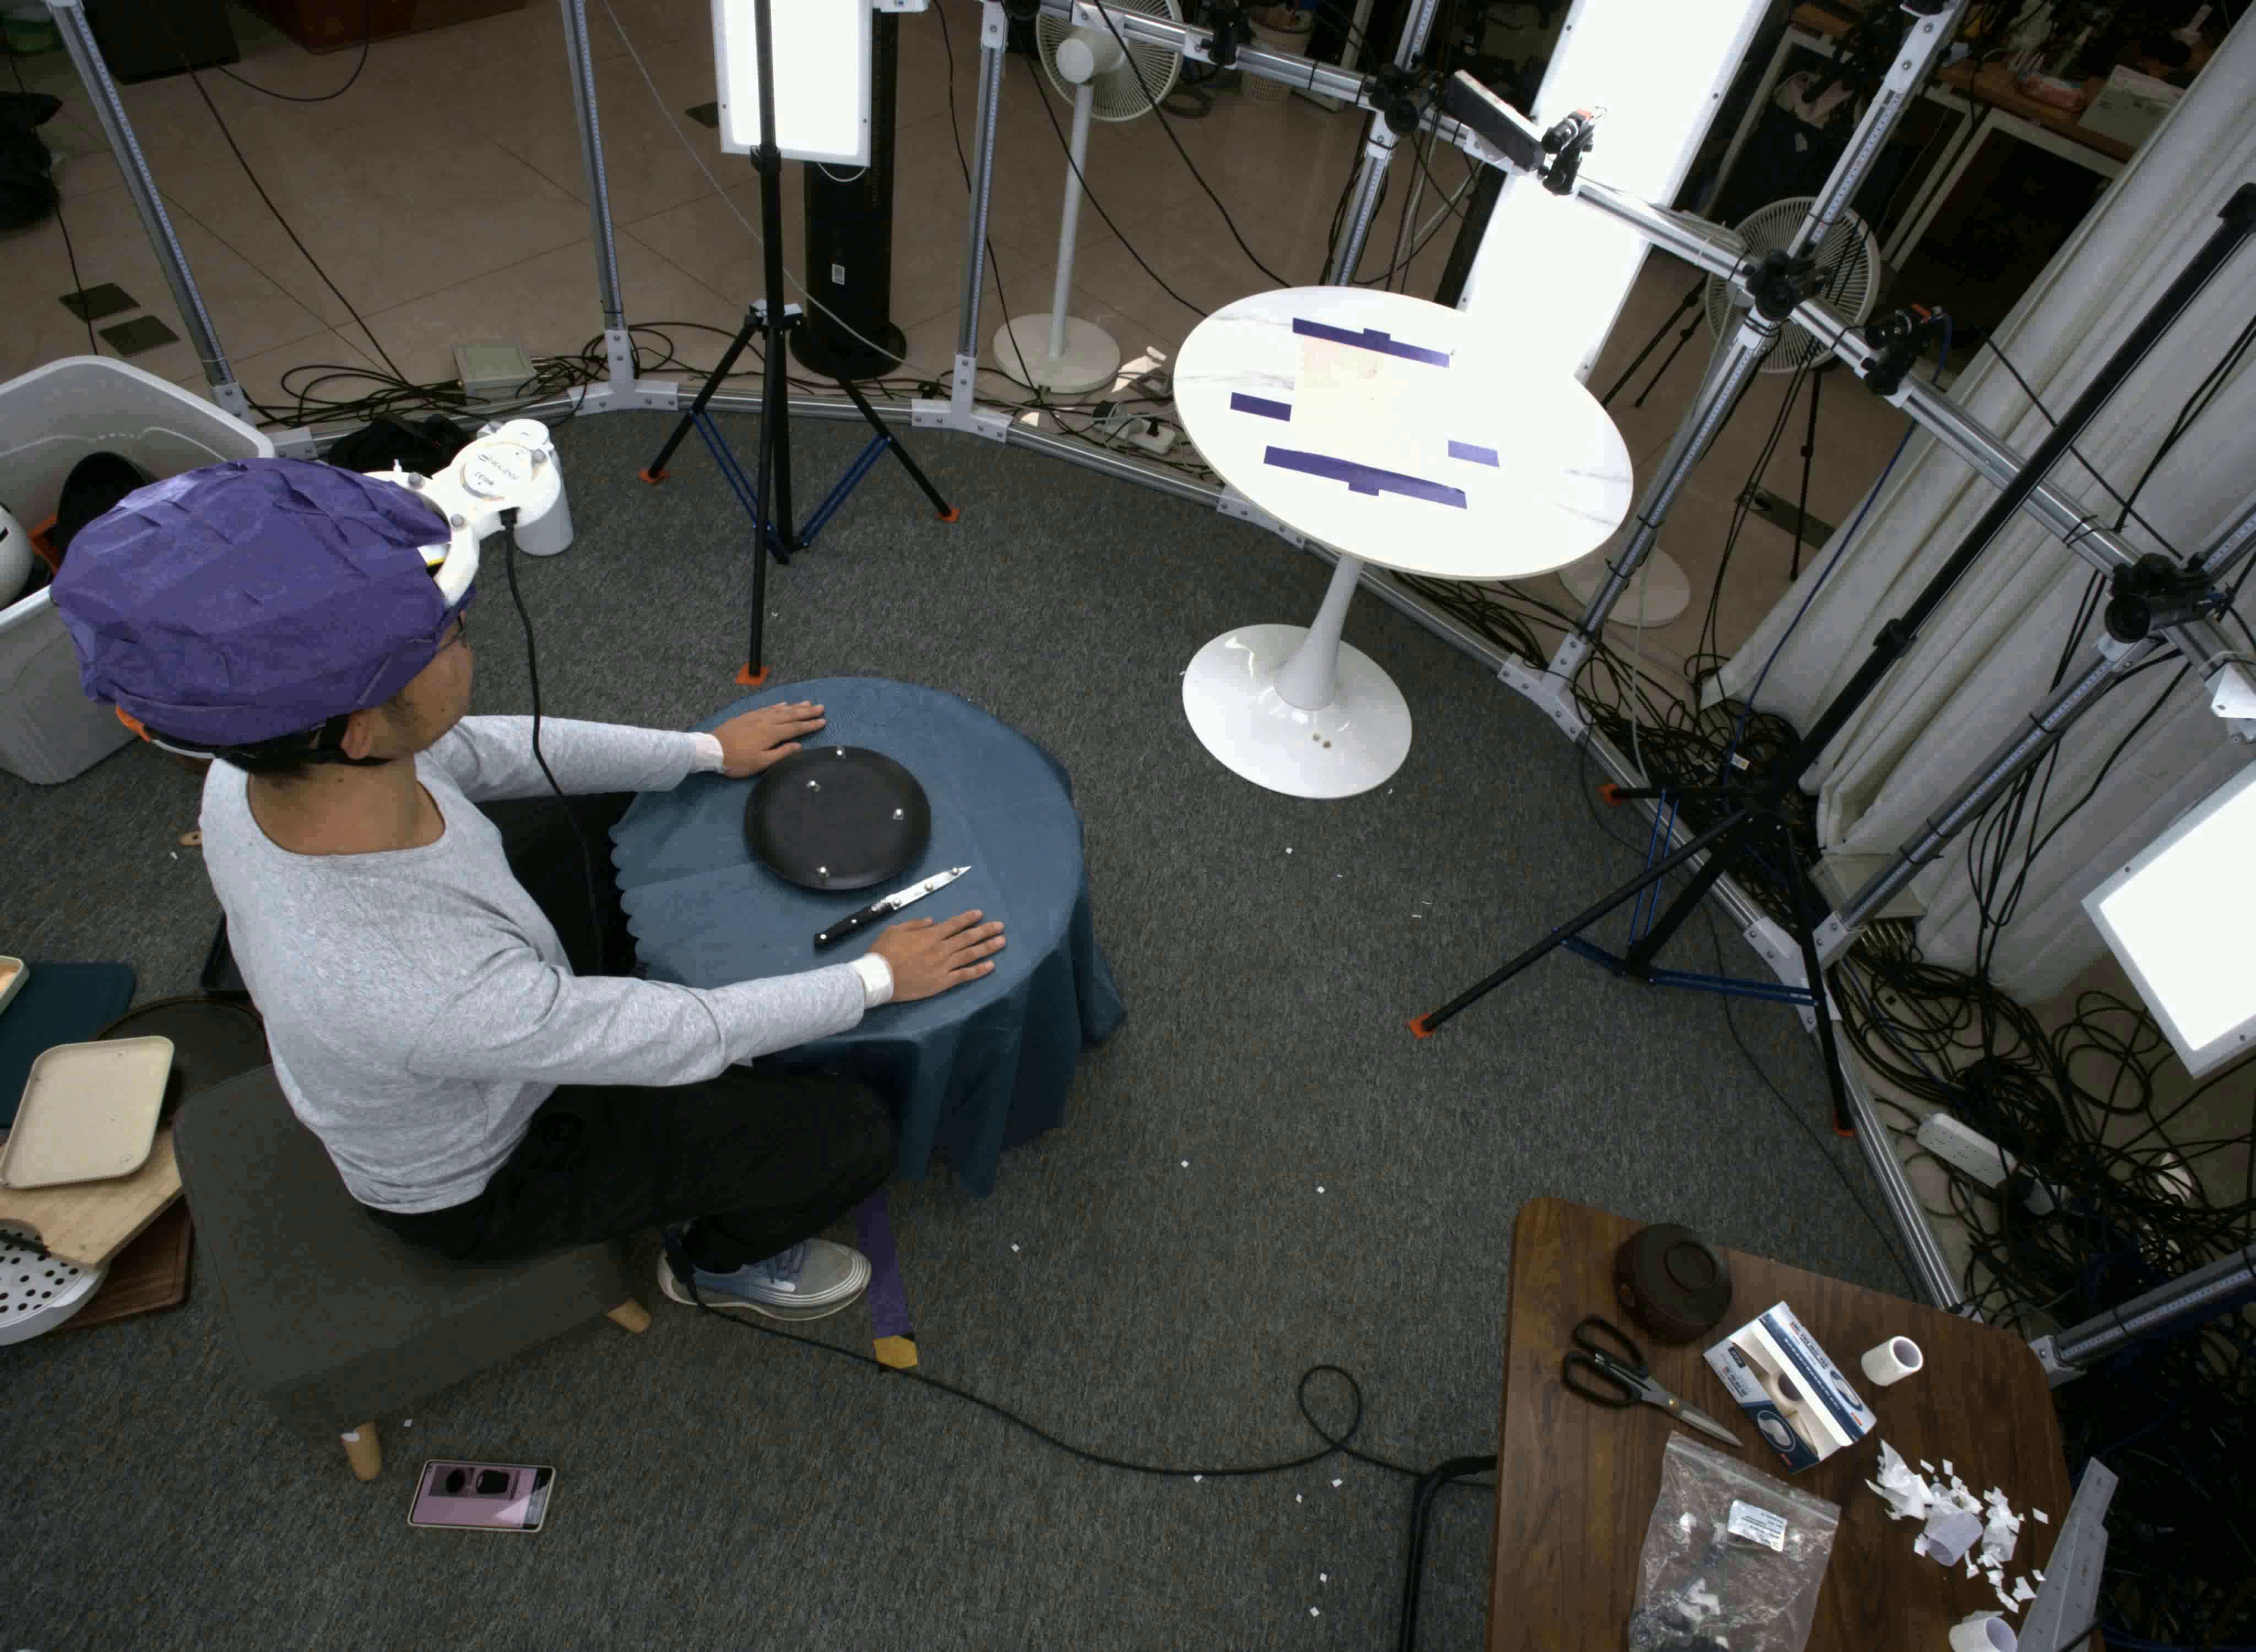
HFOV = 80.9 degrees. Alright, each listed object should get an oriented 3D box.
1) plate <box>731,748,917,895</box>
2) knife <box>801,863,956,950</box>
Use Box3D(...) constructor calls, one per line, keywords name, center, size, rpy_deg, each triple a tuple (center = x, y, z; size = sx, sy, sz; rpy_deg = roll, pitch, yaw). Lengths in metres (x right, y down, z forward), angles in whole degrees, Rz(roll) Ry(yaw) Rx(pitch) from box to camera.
Box3D(name="plate", center=(-0.404, -0.006, 1.730), size=(0.244, 0.024, 0.240), rpy_deg=(8, 53, -9))
Box3D(name="knife", center=(-0.317, 0.100, 1.682), size=(0.239, 0.016, 0.024), rpy_deg=(-29, 65, -33))
